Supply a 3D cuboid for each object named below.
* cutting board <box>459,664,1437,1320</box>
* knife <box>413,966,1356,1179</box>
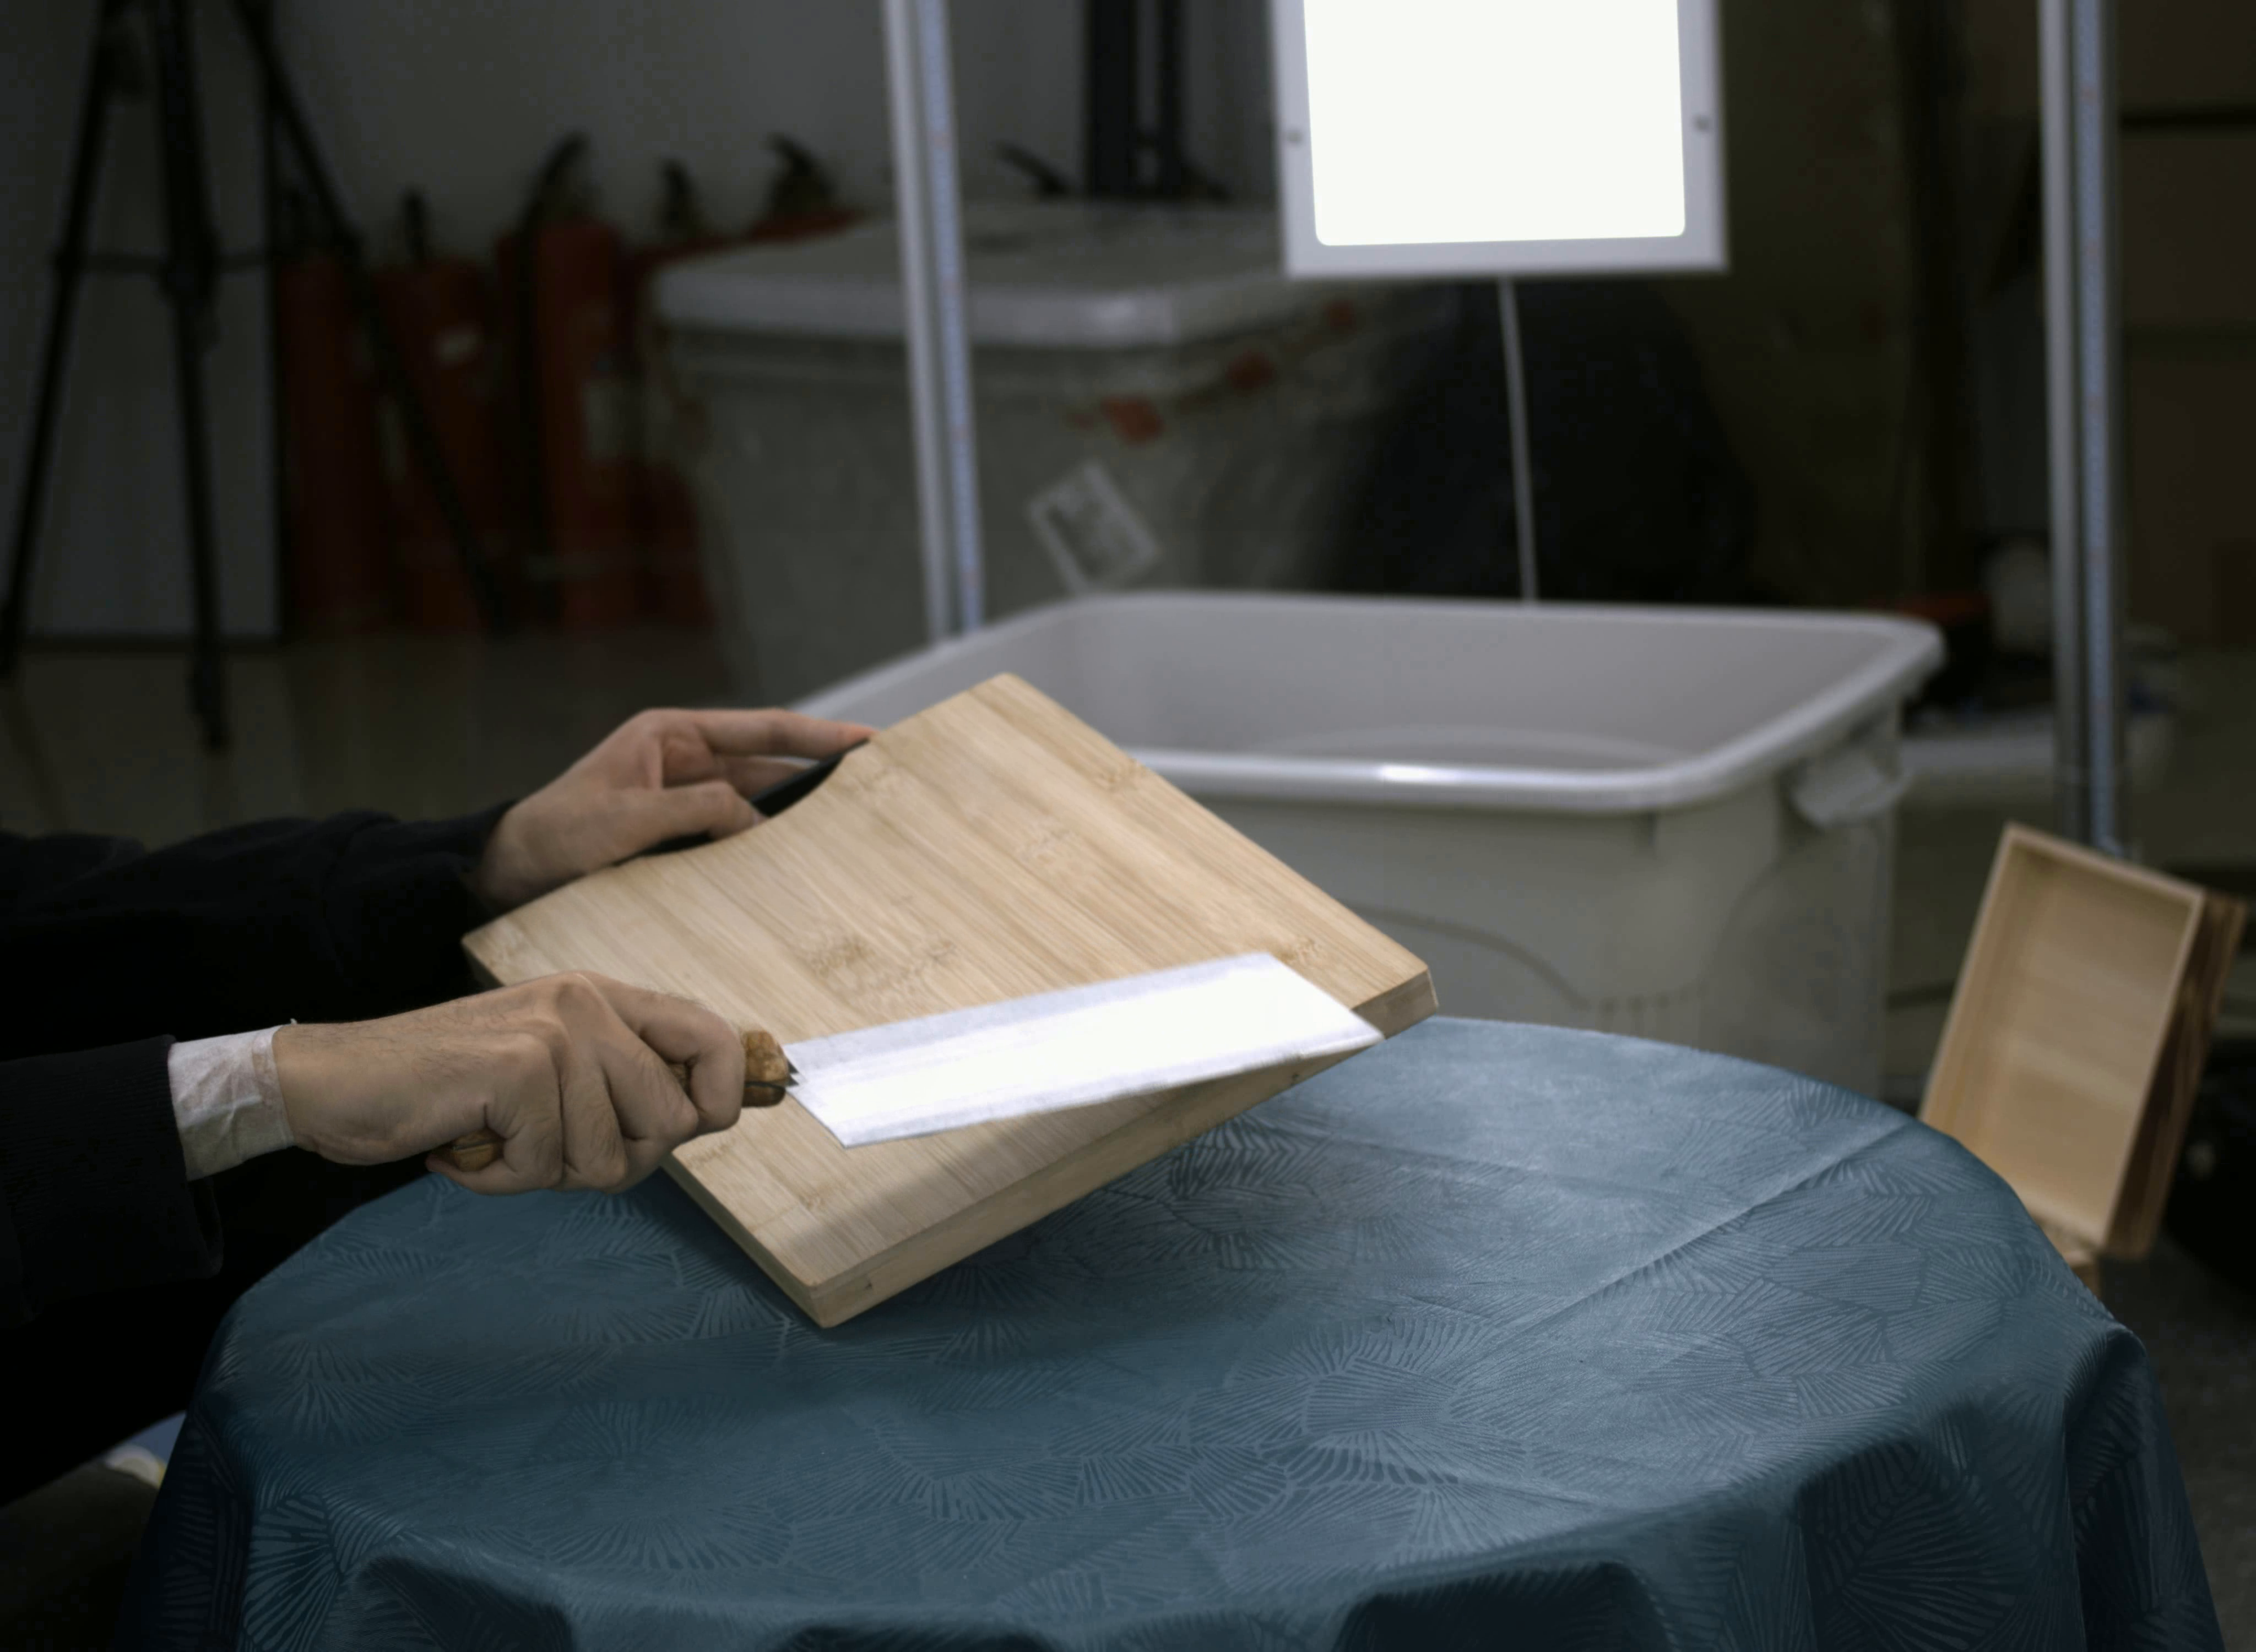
[{"bbox_3d":[-0.073,0.050,1.959,0.247,0.023,0.354,-27,28,-16],"label":"cutting board"},{"bbox_3d":[-0.072,0.082,1.758,0.300,0.021,0.094,-10,21,-20],"label":"knife"}]
